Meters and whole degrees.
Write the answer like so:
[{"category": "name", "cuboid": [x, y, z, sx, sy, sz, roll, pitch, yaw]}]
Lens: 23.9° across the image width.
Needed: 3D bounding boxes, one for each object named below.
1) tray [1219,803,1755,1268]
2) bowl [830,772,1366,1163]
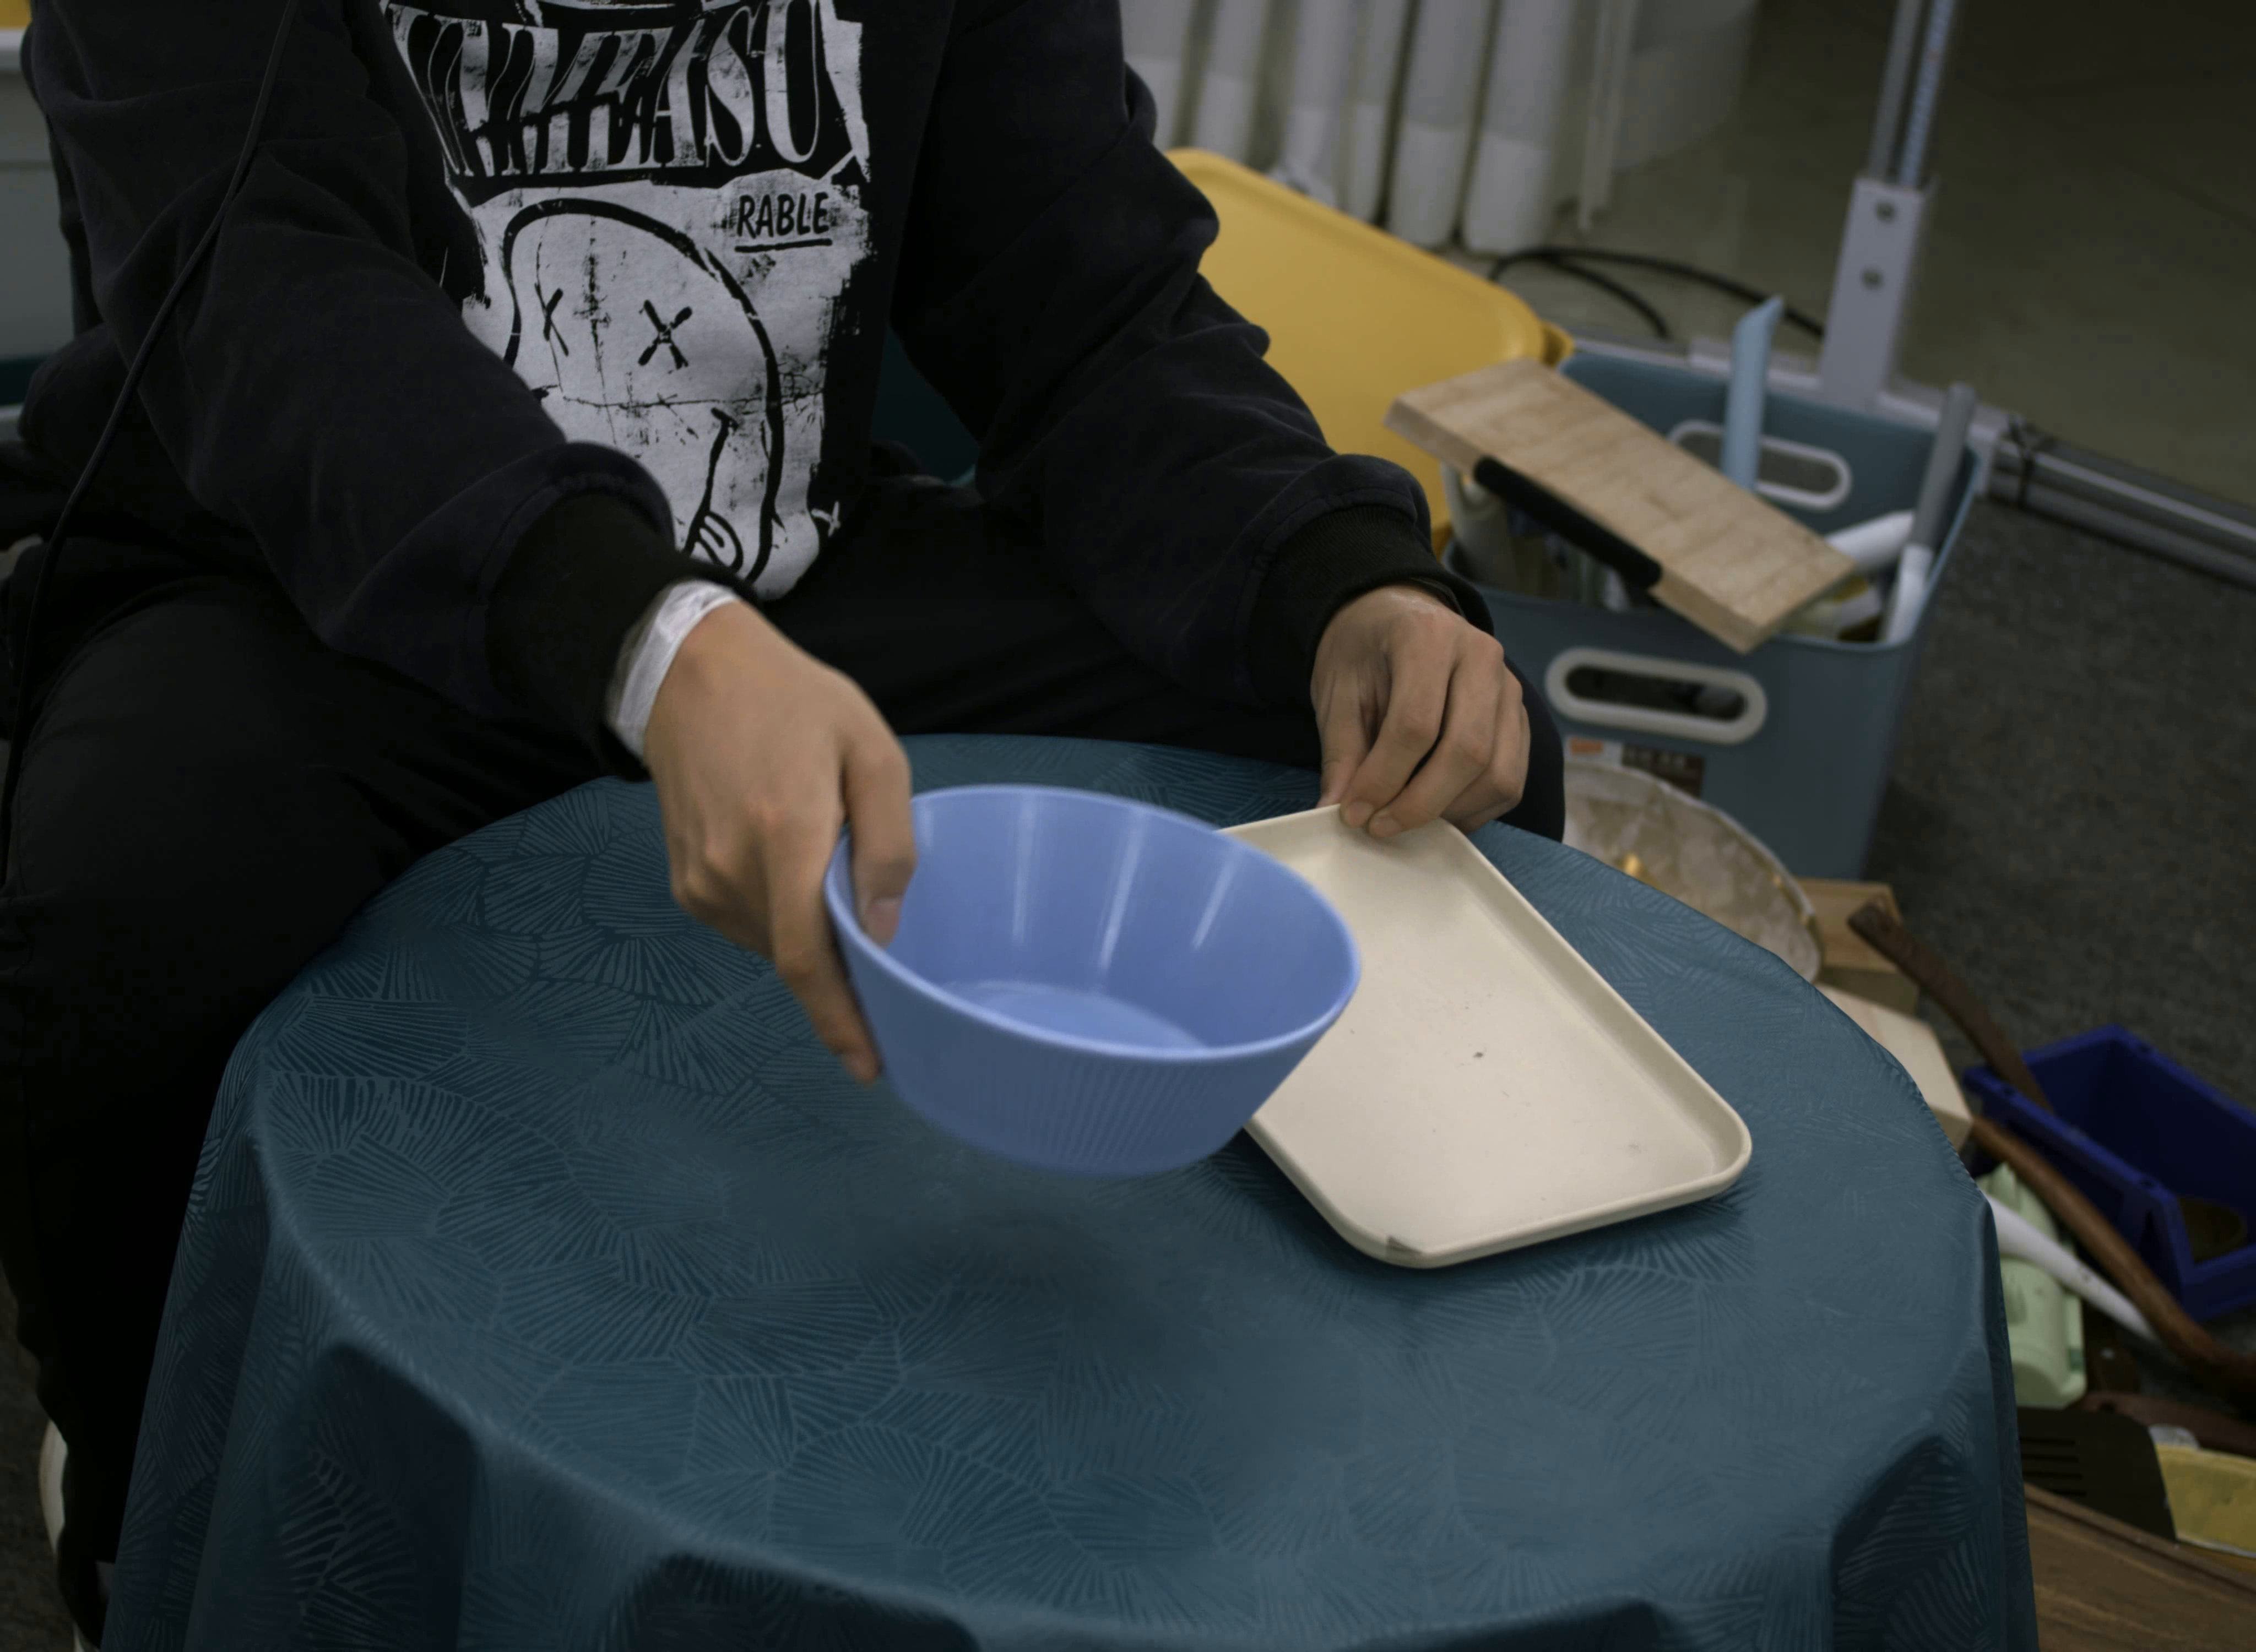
[{"category": "tray", "cuboid": [0.096, 0.072, 1.874, 0.170, 0.017, 0.242, -10, 38, -30]}, {"category": "bowl", "cuboid": [-0.015, 0.051, 1.717, 0.175, 0.070, 0.177, 10, 26, -5]}]
